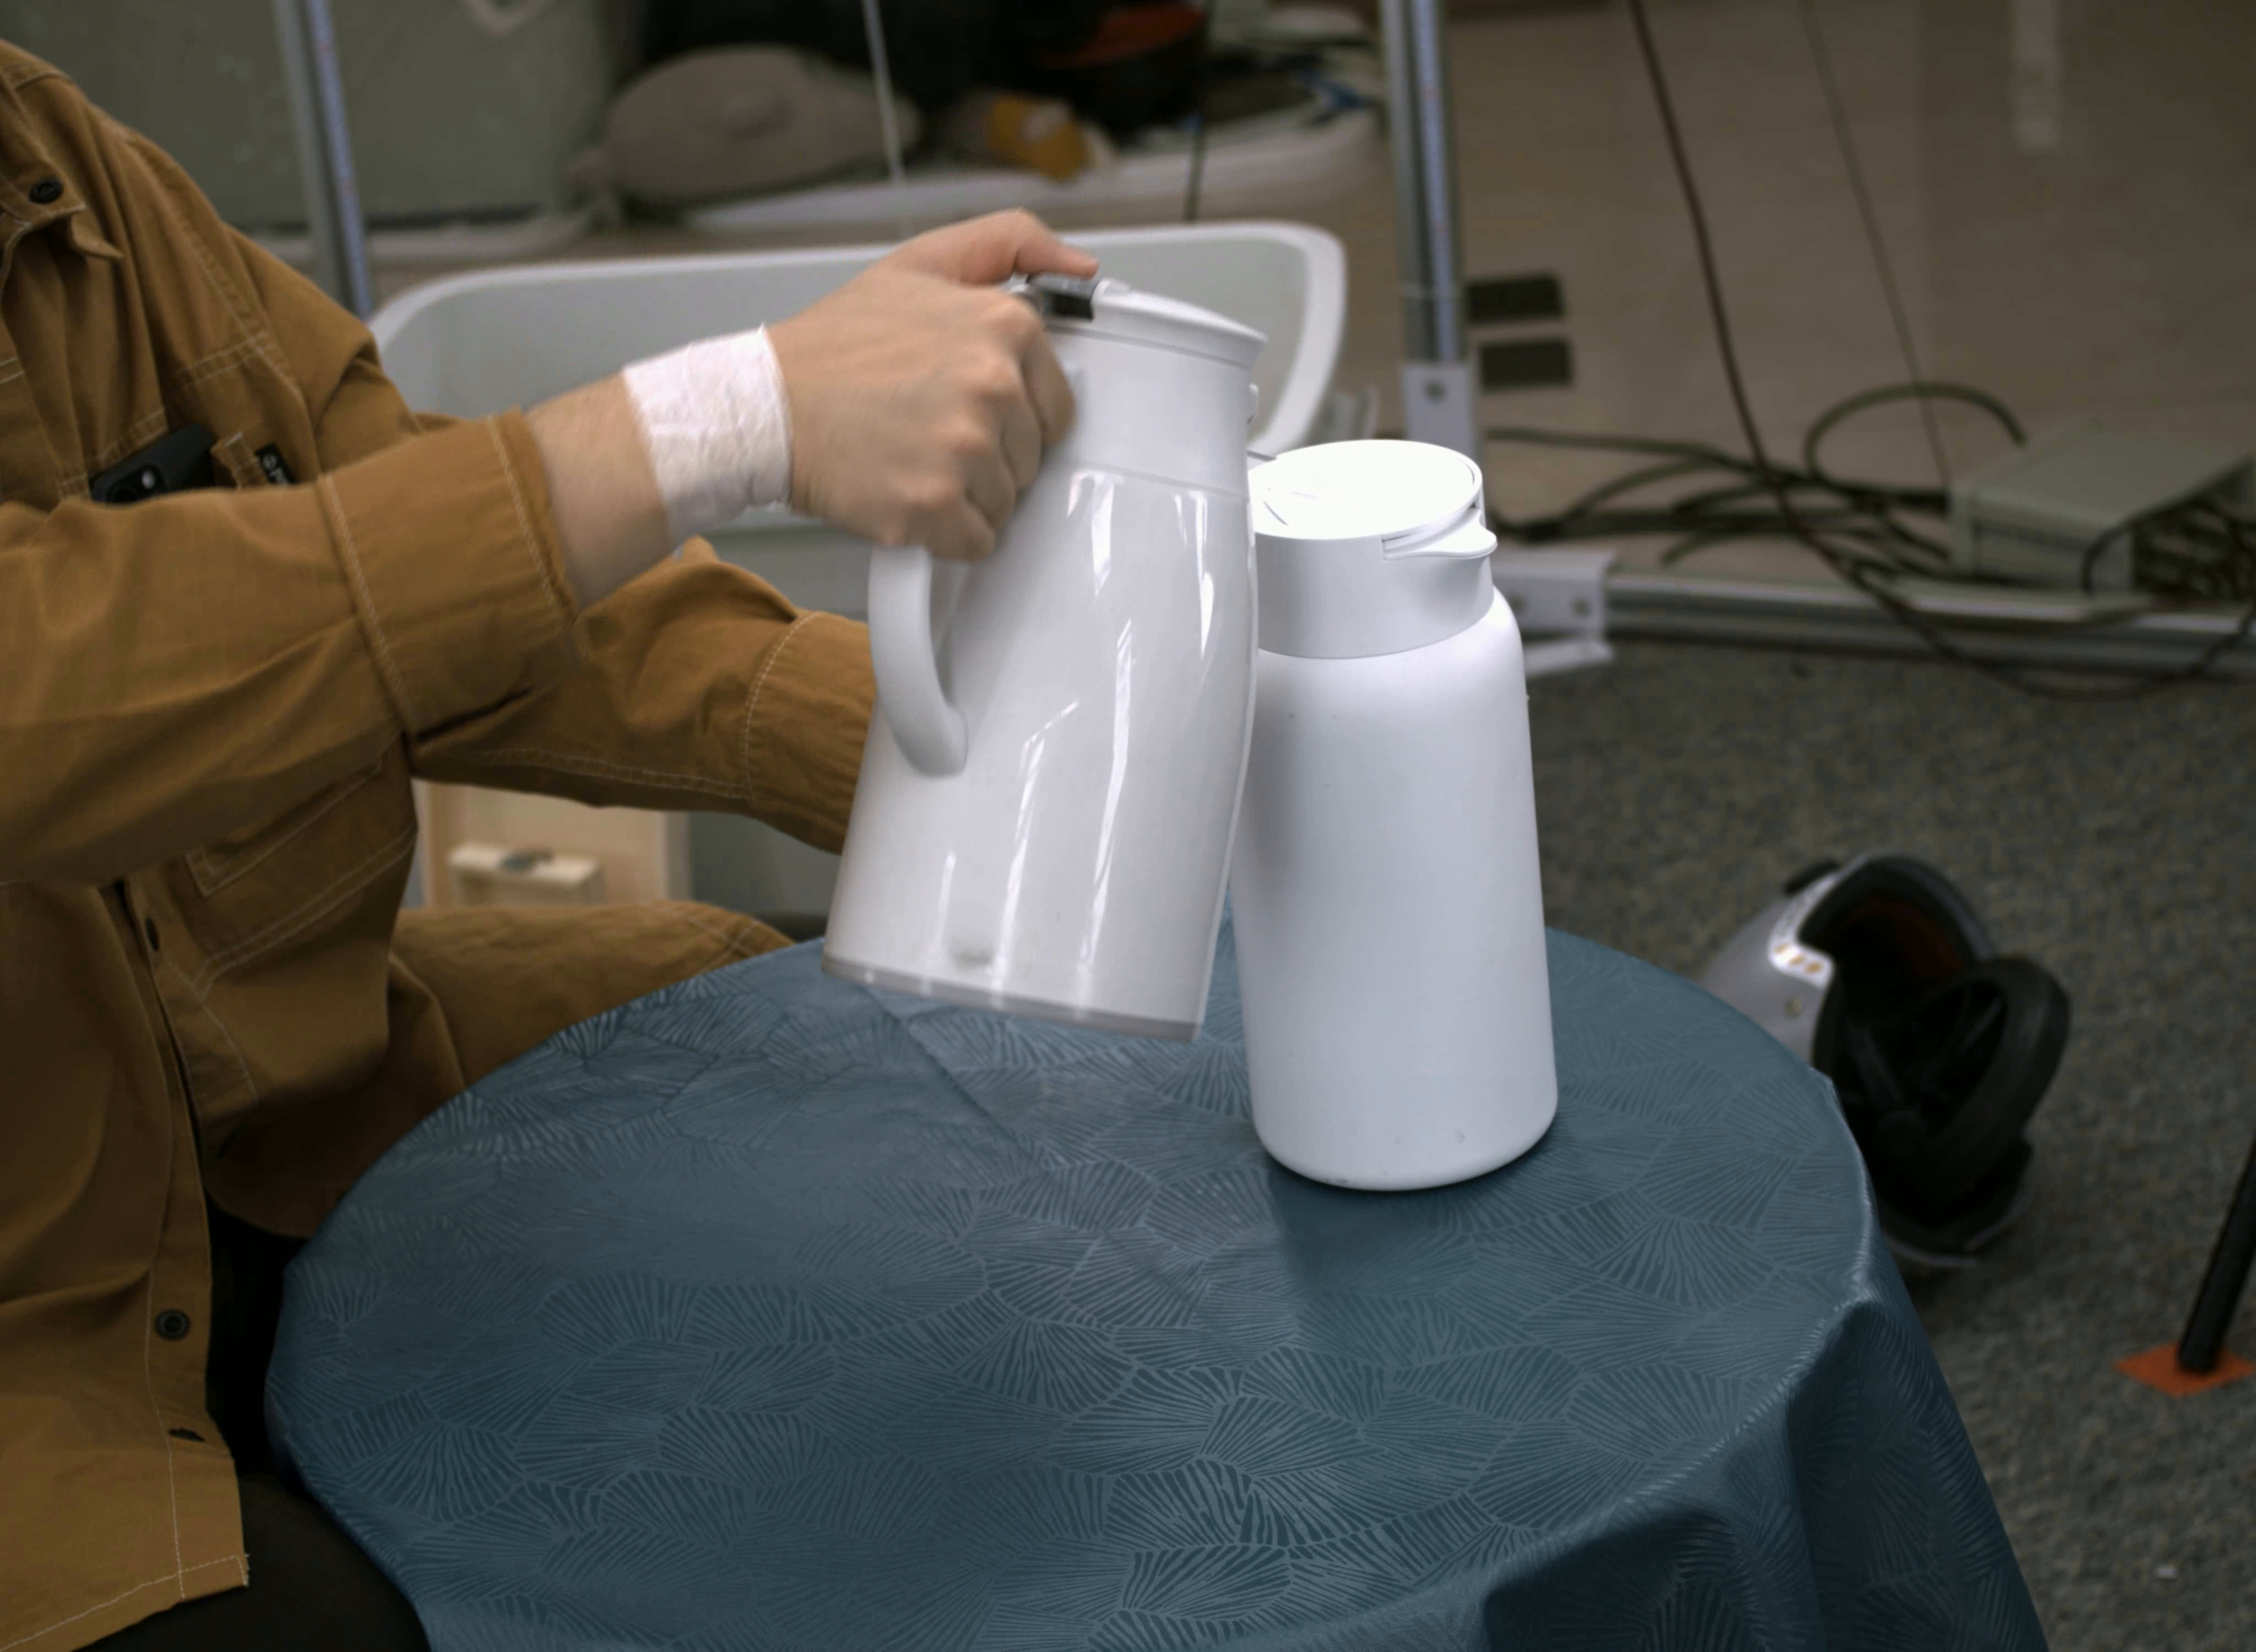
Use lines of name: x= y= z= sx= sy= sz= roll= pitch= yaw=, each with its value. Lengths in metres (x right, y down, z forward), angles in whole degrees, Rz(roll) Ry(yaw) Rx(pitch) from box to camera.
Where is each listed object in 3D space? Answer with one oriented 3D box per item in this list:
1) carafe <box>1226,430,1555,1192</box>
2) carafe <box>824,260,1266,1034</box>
carafe: x=0.080 y=-0.008 z=2.124 sx=0.171 sy=0.273 sz=0.122 roll=18 pitch=37 yaw=41
carafe: x=-0.028 y=-0.064 z=1.916 sx=0.132 sy=0.249 sz=0.168 roll=12 pitch=2 yaw=37
